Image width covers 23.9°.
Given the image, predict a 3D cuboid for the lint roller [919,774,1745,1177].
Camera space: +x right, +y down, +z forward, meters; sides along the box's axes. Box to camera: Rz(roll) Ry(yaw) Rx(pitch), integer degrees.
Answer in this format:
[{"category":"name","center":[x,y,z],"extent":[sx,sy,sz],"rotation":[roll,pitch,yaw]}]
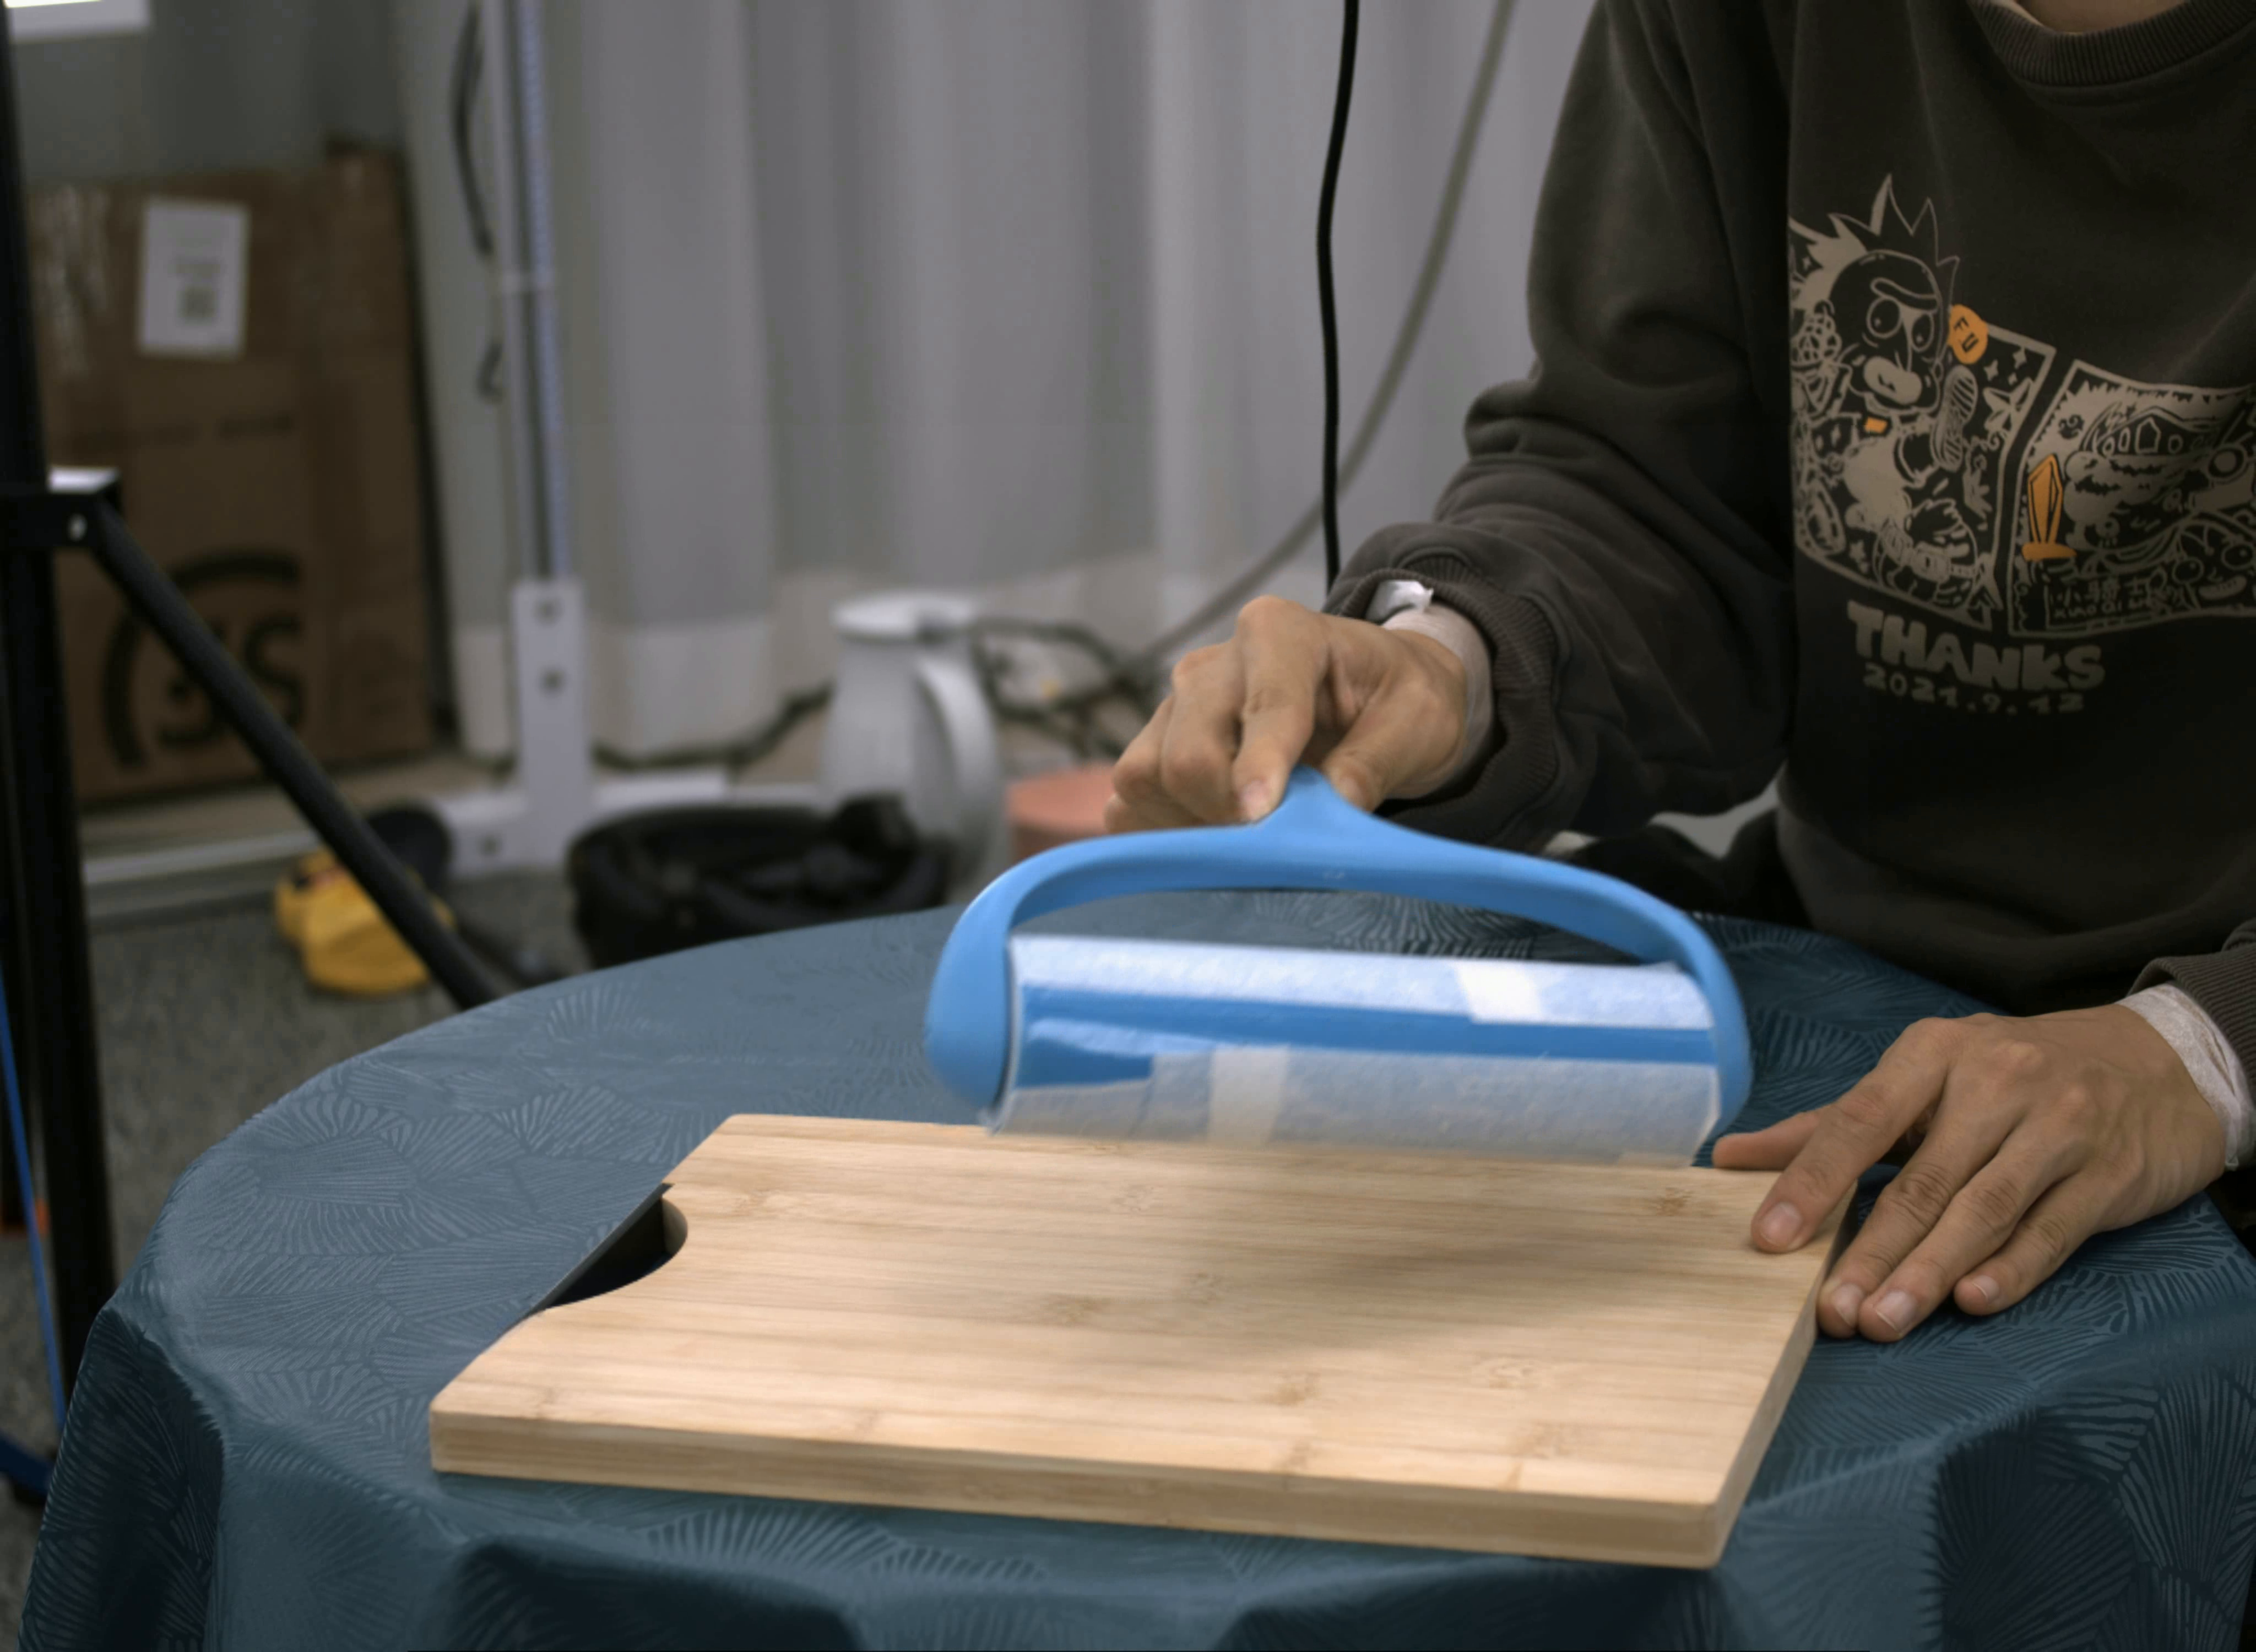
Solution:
[{"category":"lint roller","center":[0.045,0.026,1.464],"extent":[0.225,0.068,0.183],"rotation":[1,37,-13]}]

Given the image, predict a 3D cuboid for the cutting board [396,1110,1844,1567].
[{"category":"cutting board","center":[0.006,0.134,1.441],"extent":[0.352,0.023,0.248],"rotation":[2,16,17]}]
